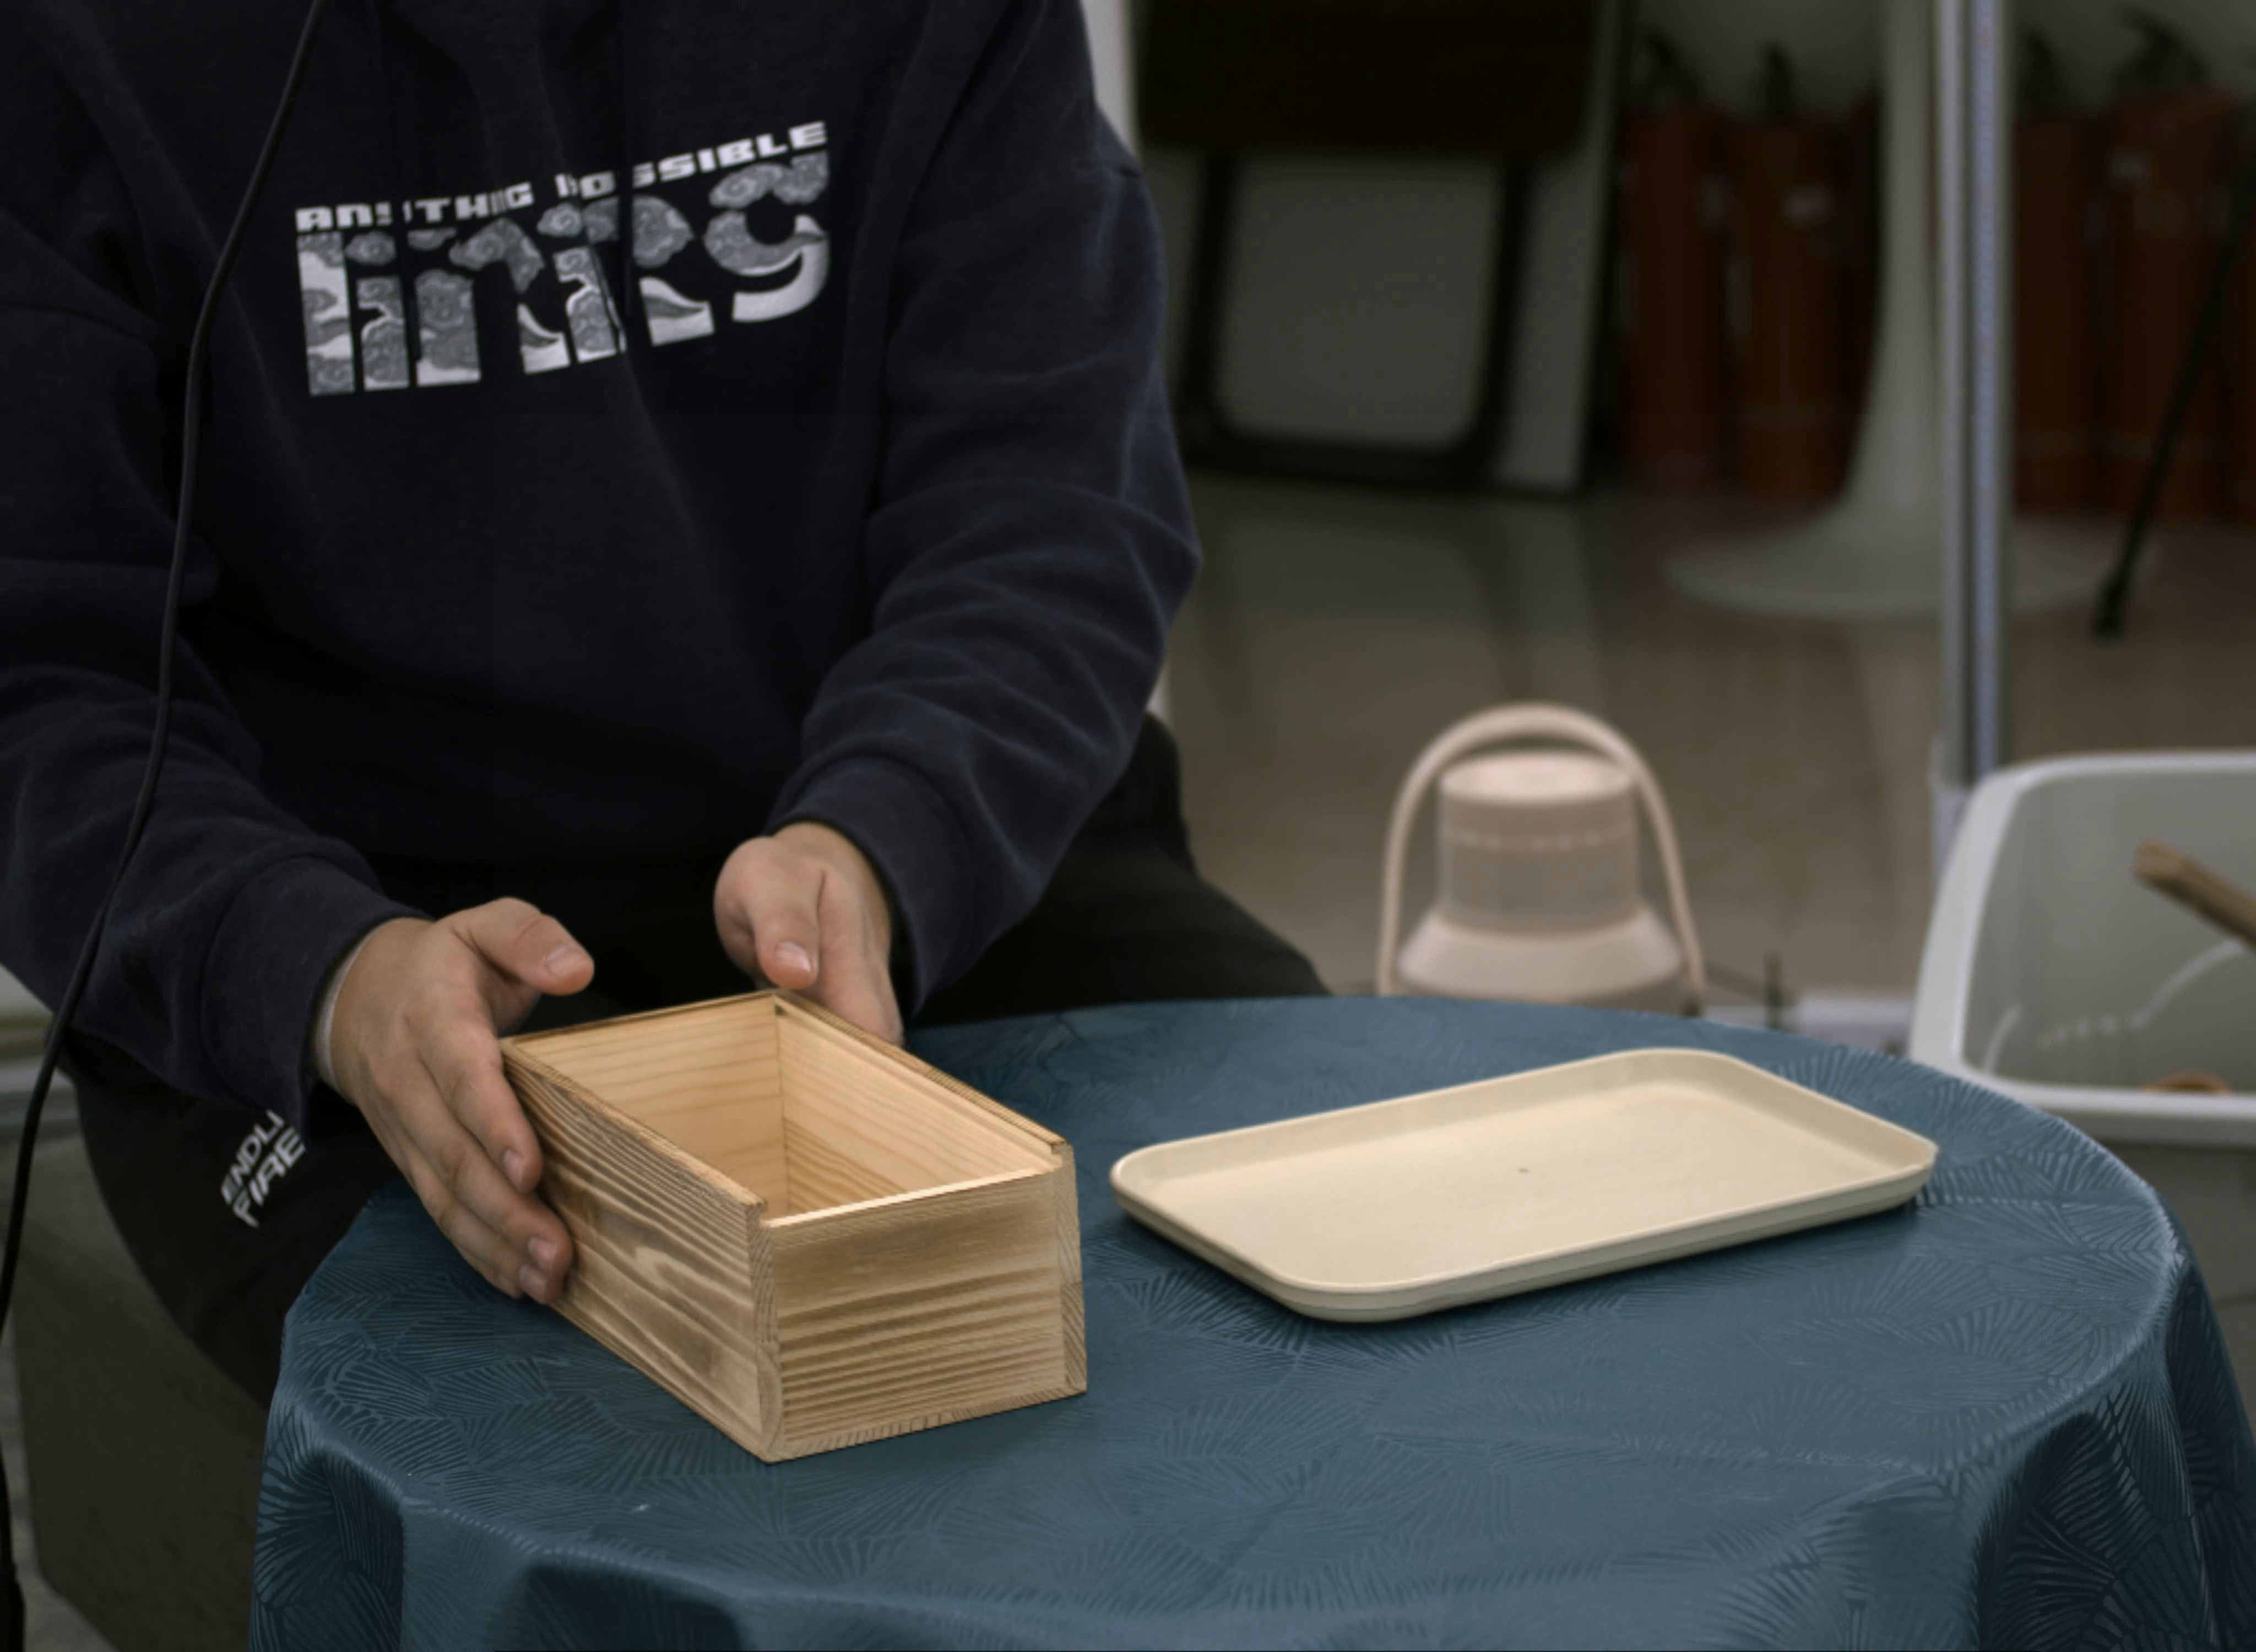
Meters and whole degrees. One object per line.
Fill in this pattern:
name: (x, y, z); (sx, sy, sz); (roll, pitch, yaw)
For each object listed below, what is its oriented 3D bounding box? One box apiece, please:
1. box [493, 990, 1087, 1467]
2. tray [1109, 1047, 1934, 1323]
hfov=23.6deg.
box: (-0.106, 0.118, 1.648); (0.105, 0.081, 0.213); (-10, 15, -25)
tray: (0.126, 0.115, 1.729); (0.234, 0.017, 0.173); (-11, 15, -24)
